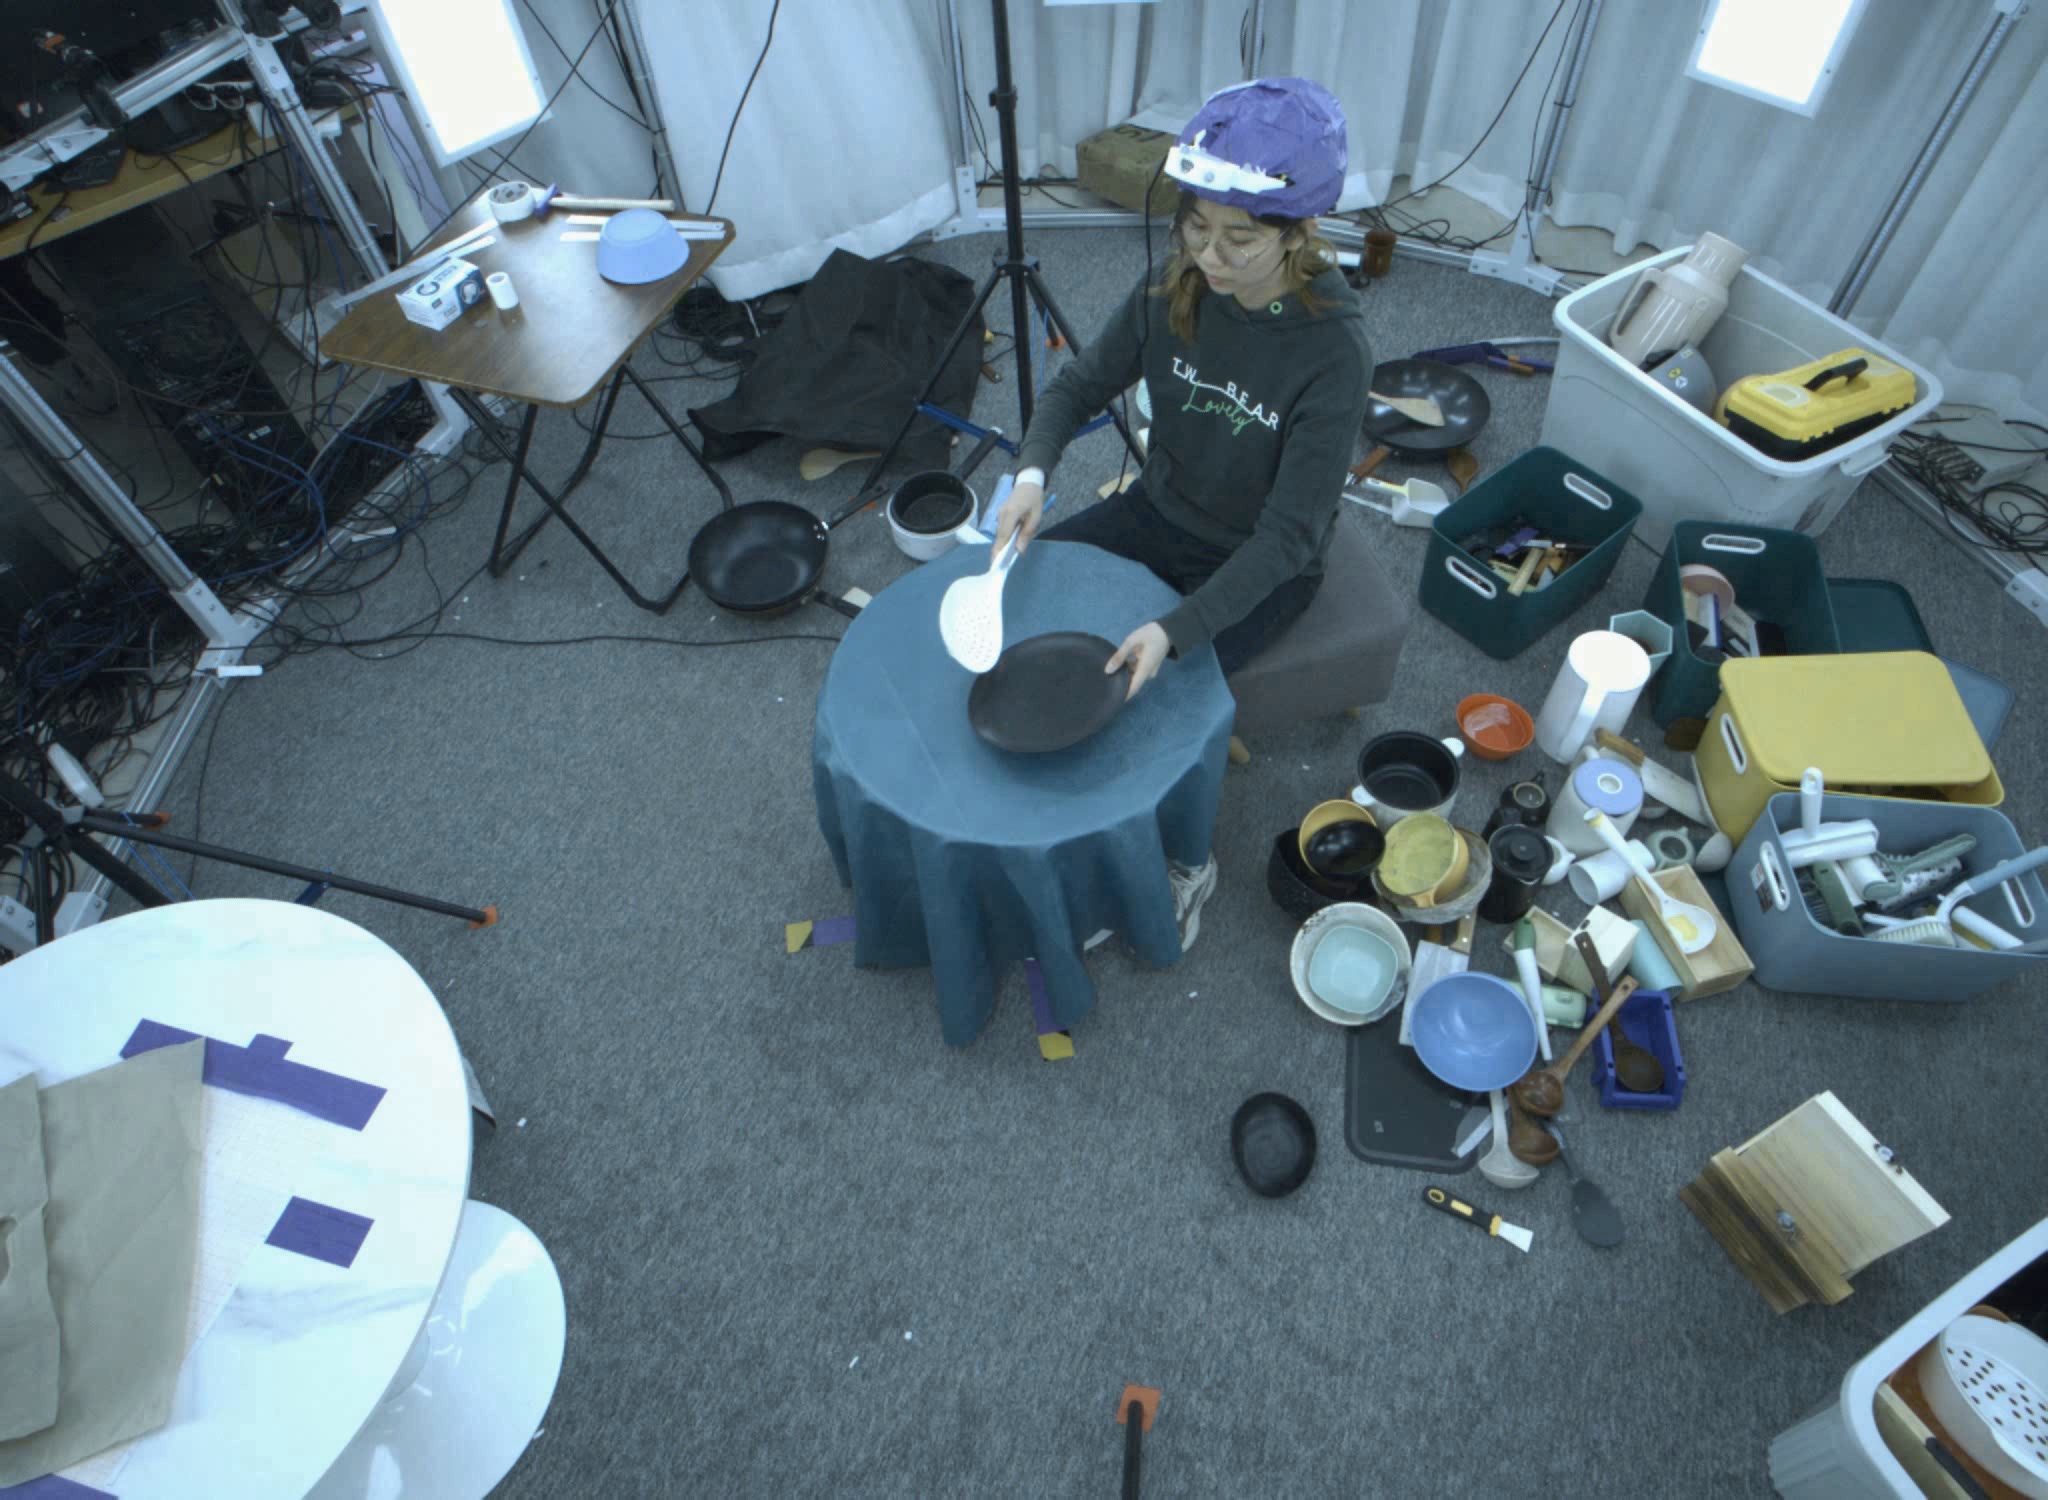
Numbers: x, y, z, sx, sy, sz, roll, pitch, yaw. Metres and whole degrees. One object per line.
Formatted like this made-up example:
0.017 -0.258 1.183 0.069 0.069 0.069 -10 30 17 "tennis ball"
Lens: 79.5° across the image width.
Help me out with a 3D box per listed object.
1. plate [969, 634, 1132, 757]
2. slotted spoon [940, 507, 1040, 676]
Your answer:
0.039 -0.076 1.791 0.243 0.024 0.242 -8 48 11 "plate"
-0.043 -0.251 1.831 0.045 0.139 0.350 -2 45 37 "slotted spoon"
